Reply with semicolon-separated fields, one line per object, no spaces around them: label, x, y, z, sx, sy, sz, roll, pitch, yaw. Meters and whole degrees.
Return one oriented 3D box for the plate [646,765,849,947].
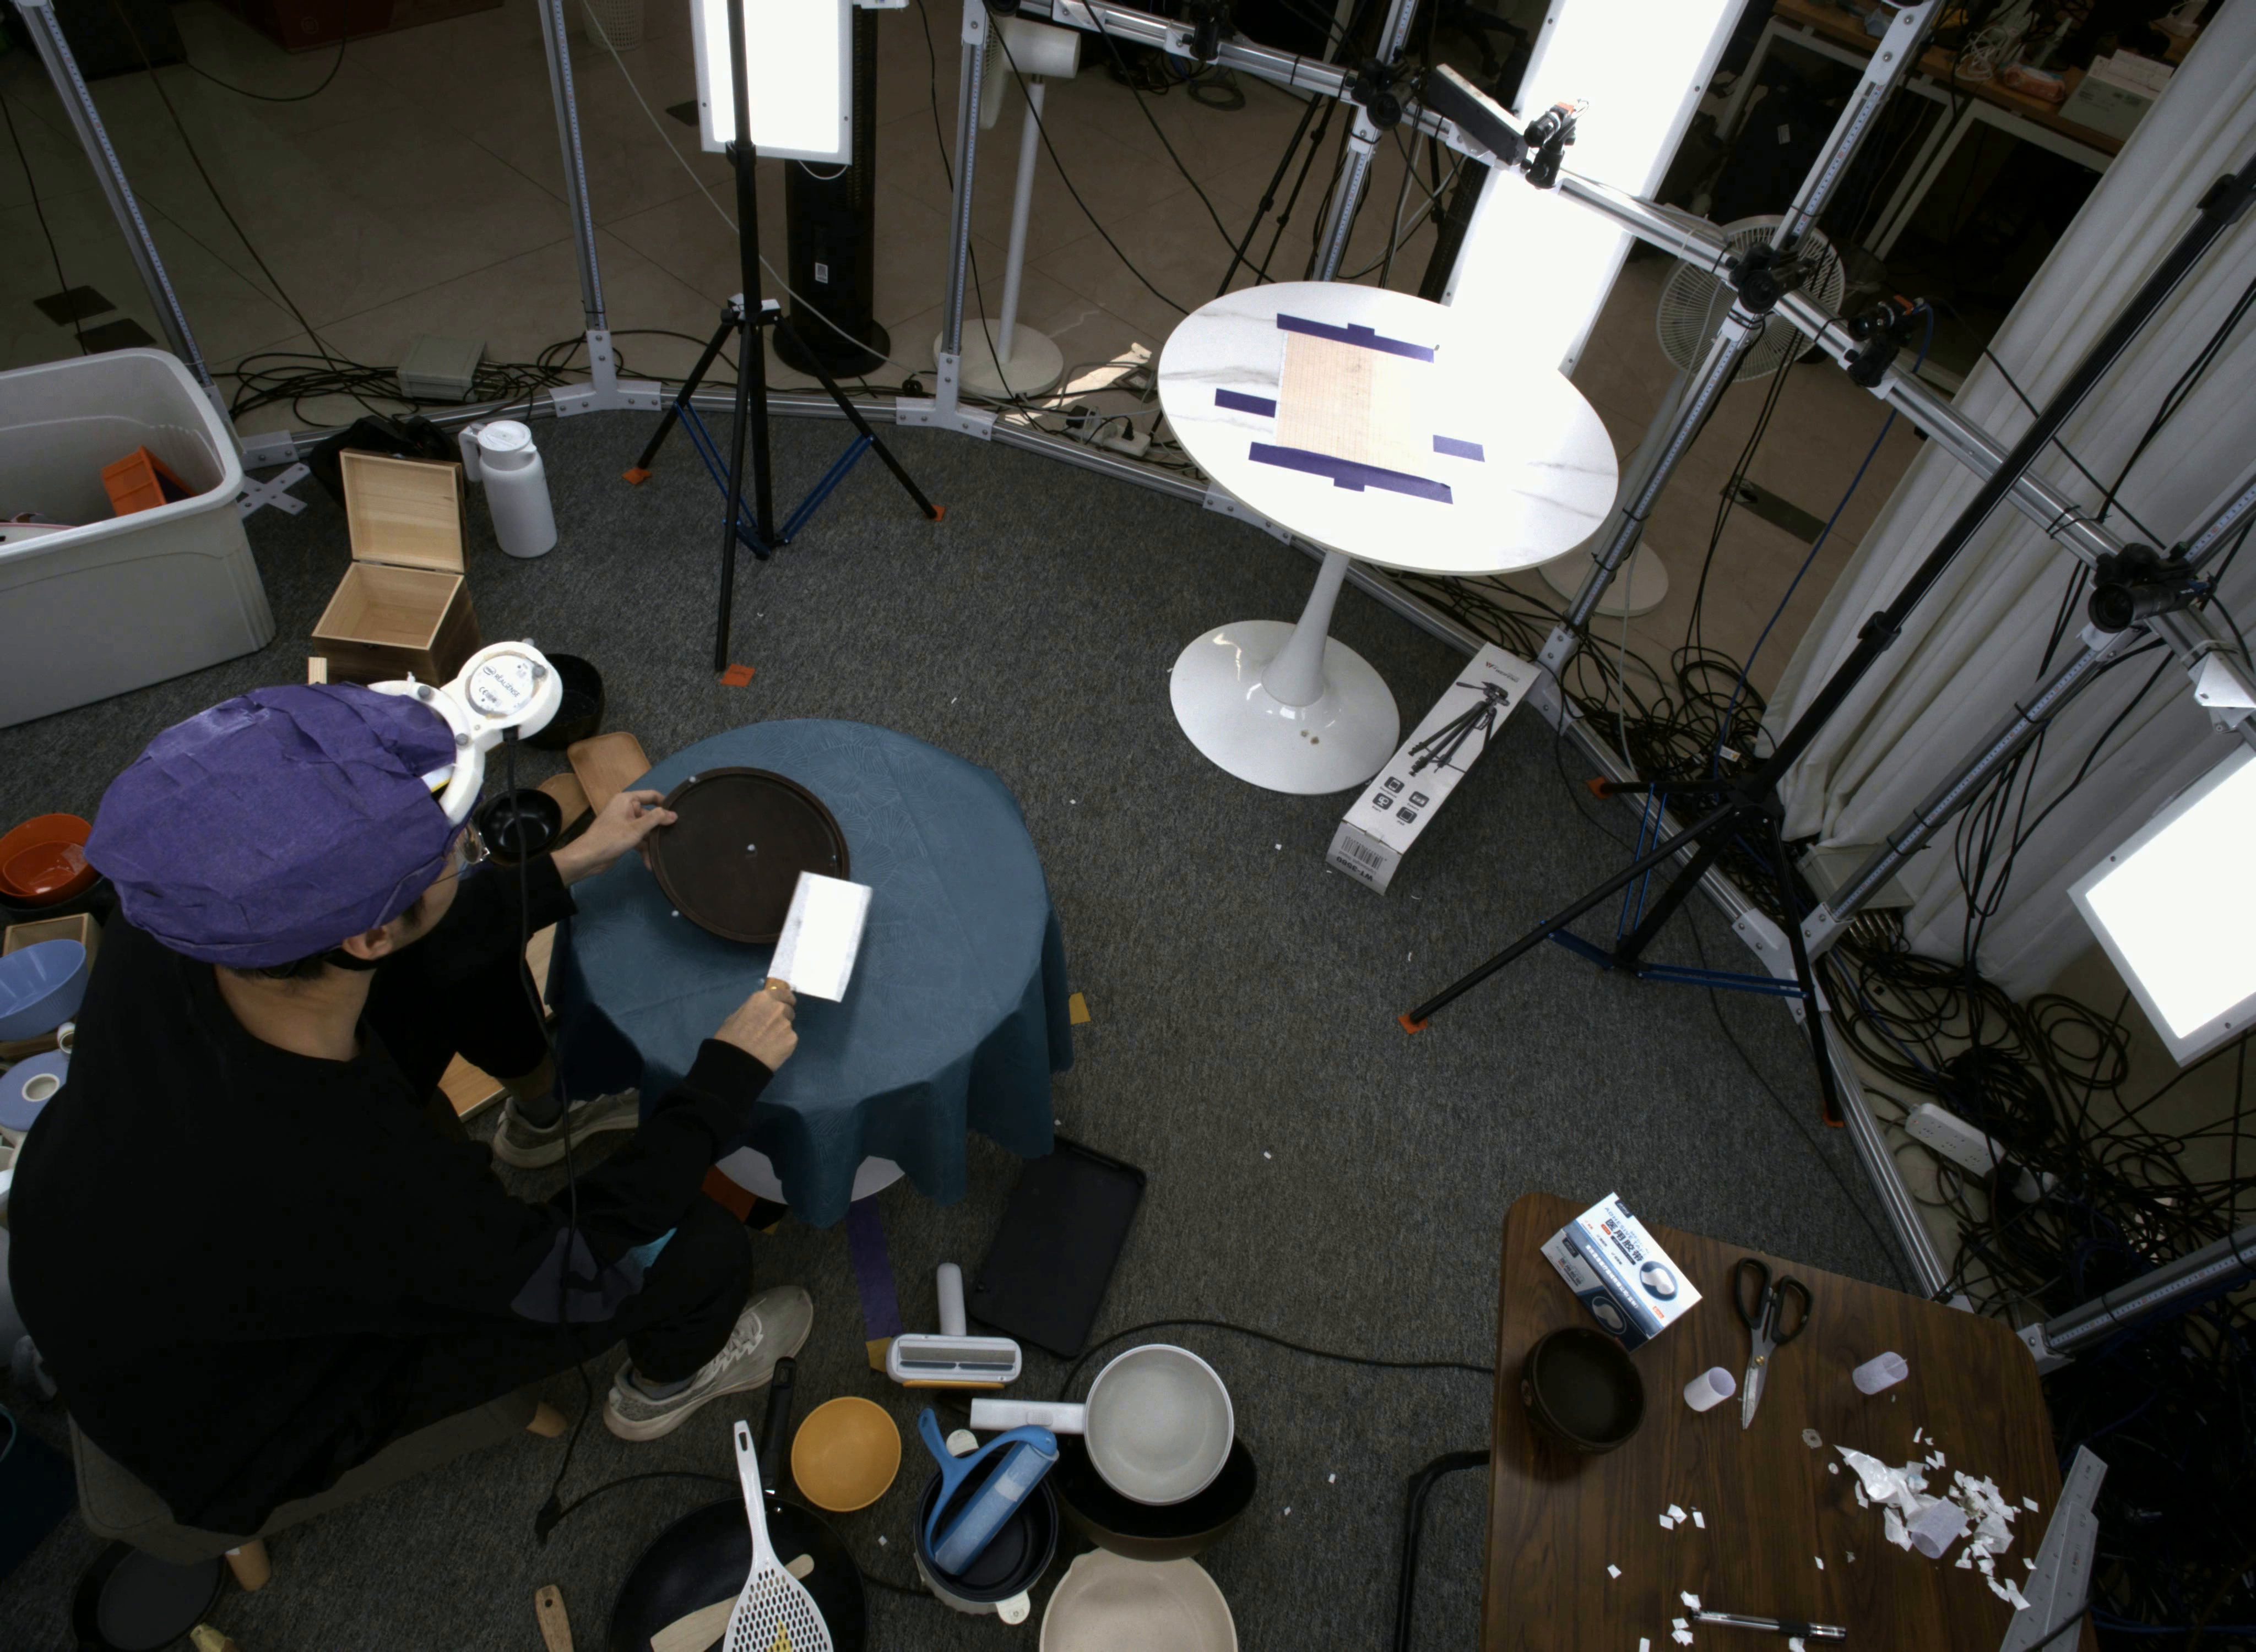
plate;-0.474;0.035;1.614;0.259;0.029;0.250;18;52;-22

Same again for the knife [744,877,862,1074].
knife;-0.369;0.167;1.506;0.093;0.021;0.300;14;41;-8
